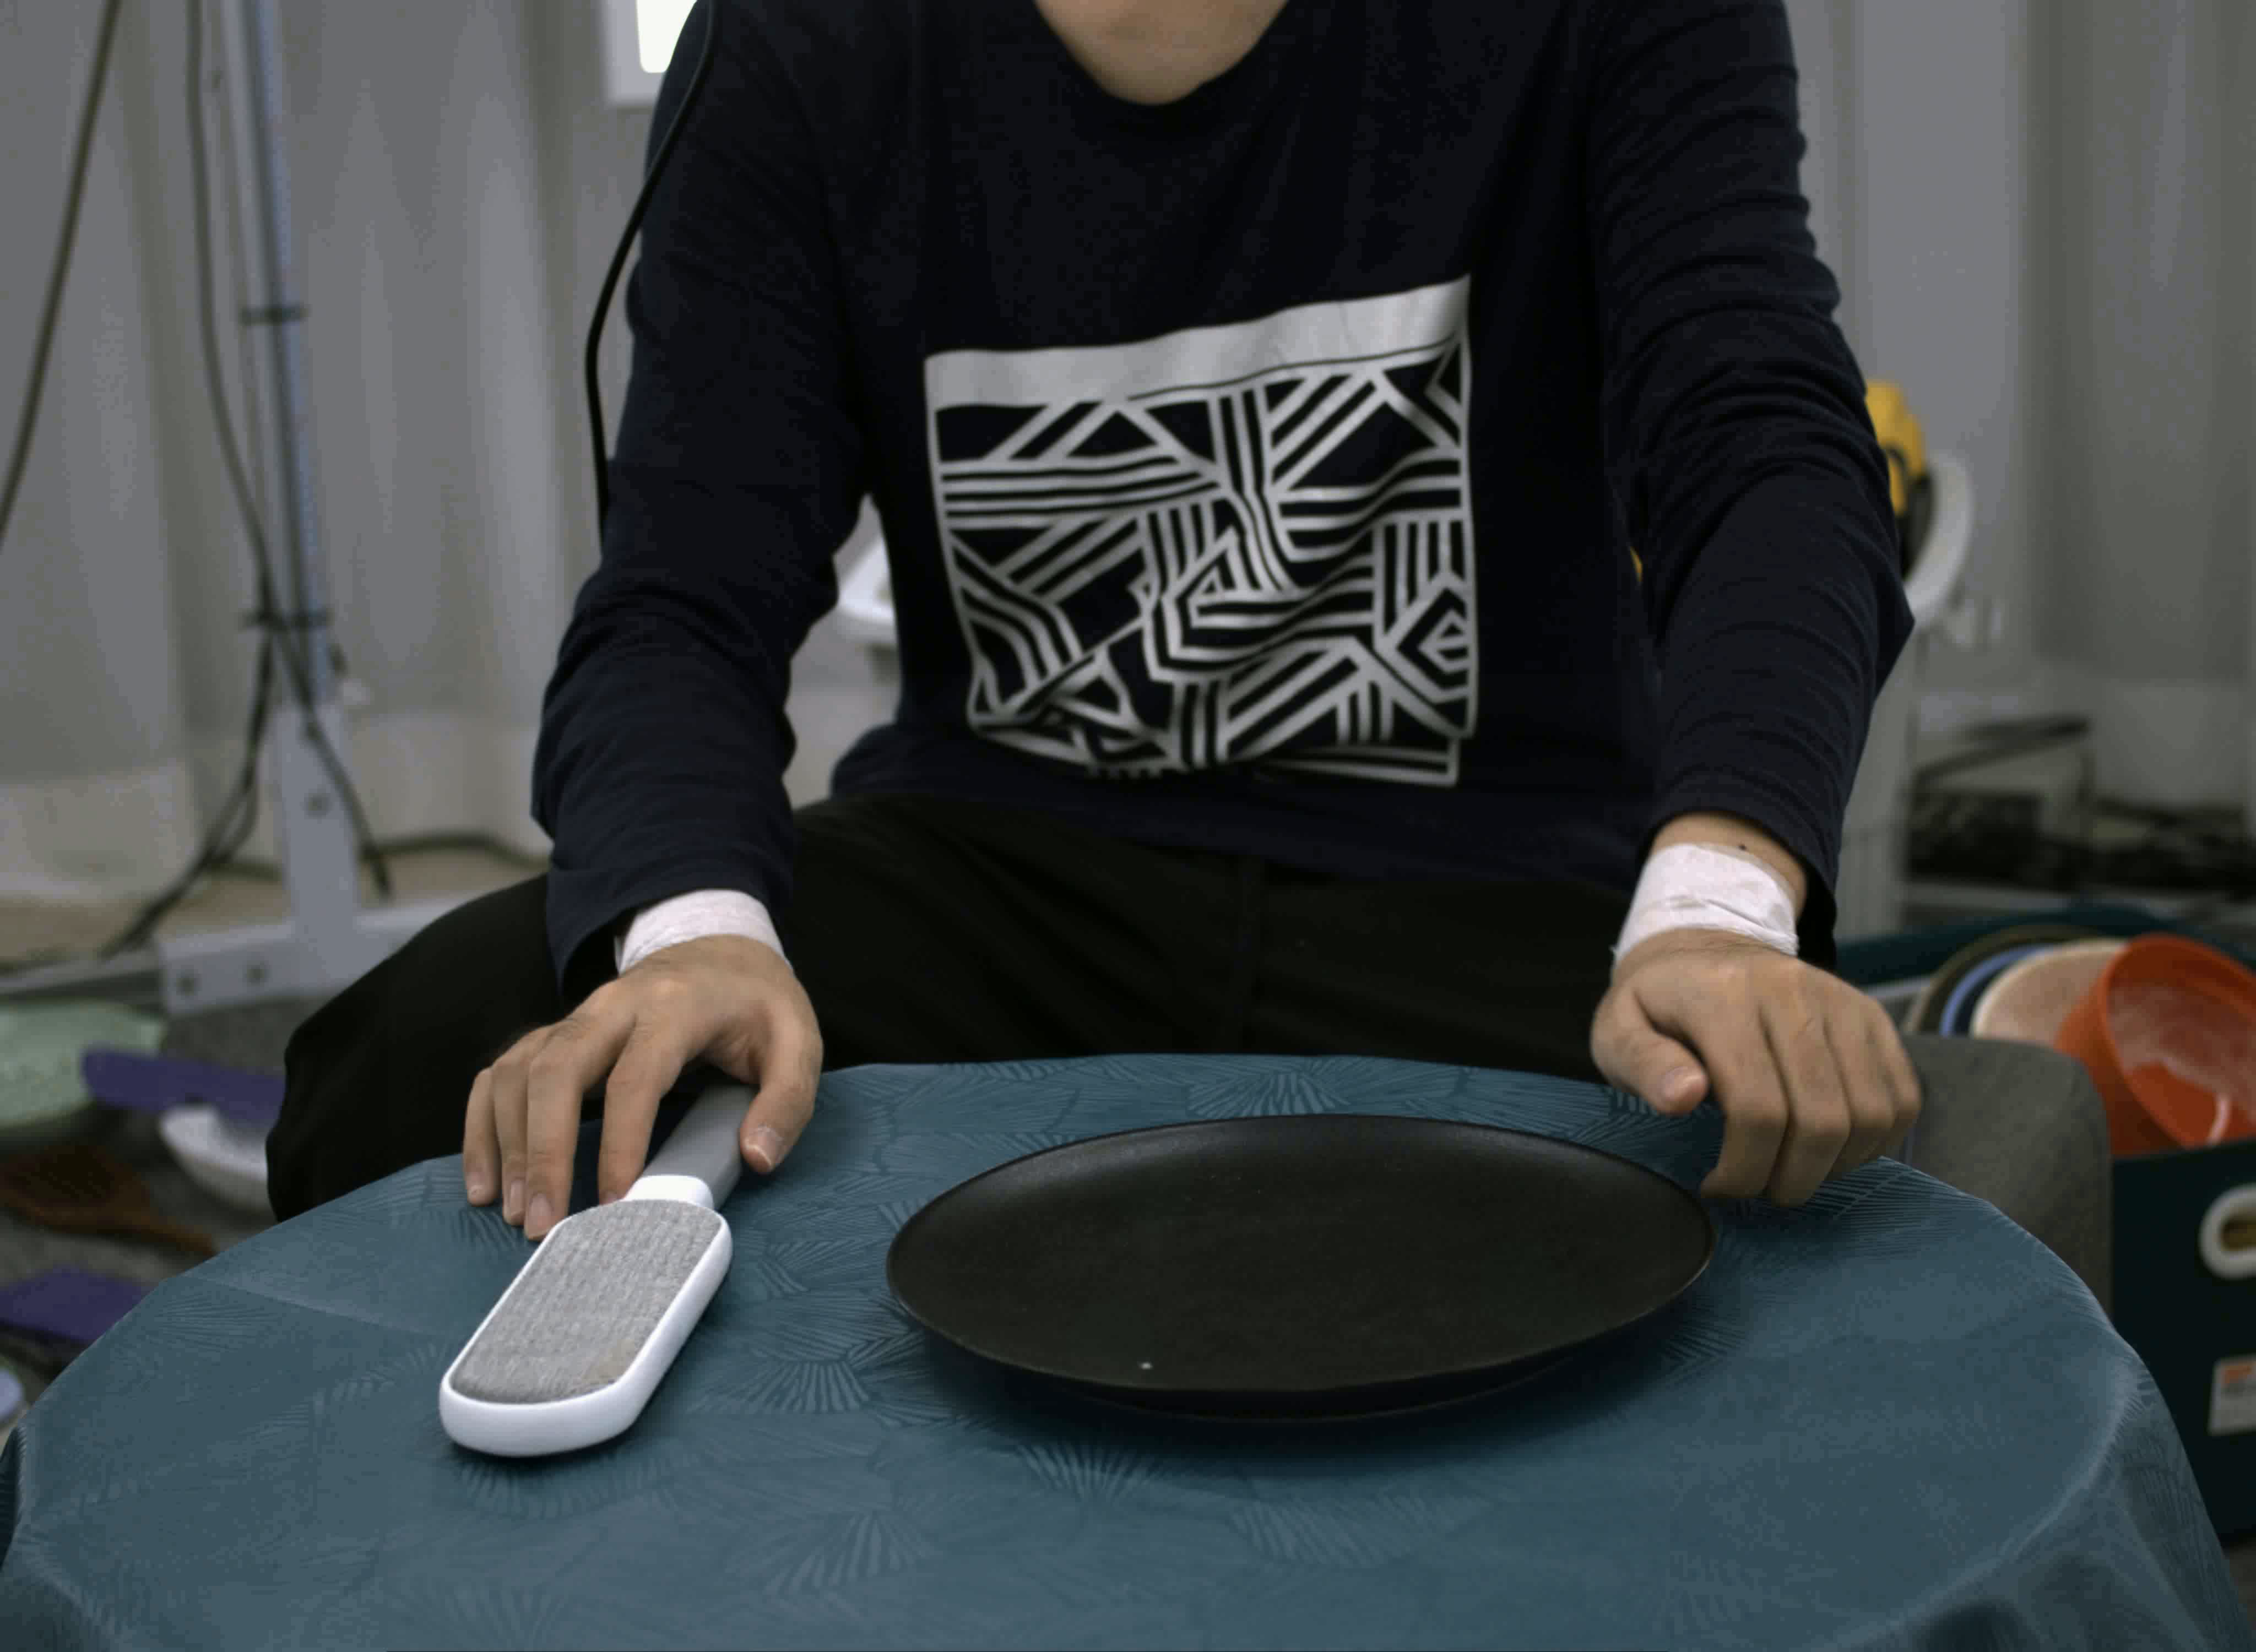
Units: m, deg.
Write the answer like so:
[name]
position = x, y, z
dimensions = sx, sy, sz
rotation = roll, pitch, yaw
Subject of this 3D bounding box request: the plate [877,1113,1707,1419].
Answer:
[plate]
position = 0.048, 0.131, 1.601
dimensions = 0.243, 0.023, 0.246
rotation = -3, 15, 0

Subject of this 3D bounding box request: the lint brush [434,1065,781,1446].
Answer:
[lint brush]
position = -0.146, 0.126, 1.652
dimensions = 0.060, 0.021, 0.310
rotation = -5, 14, 10
